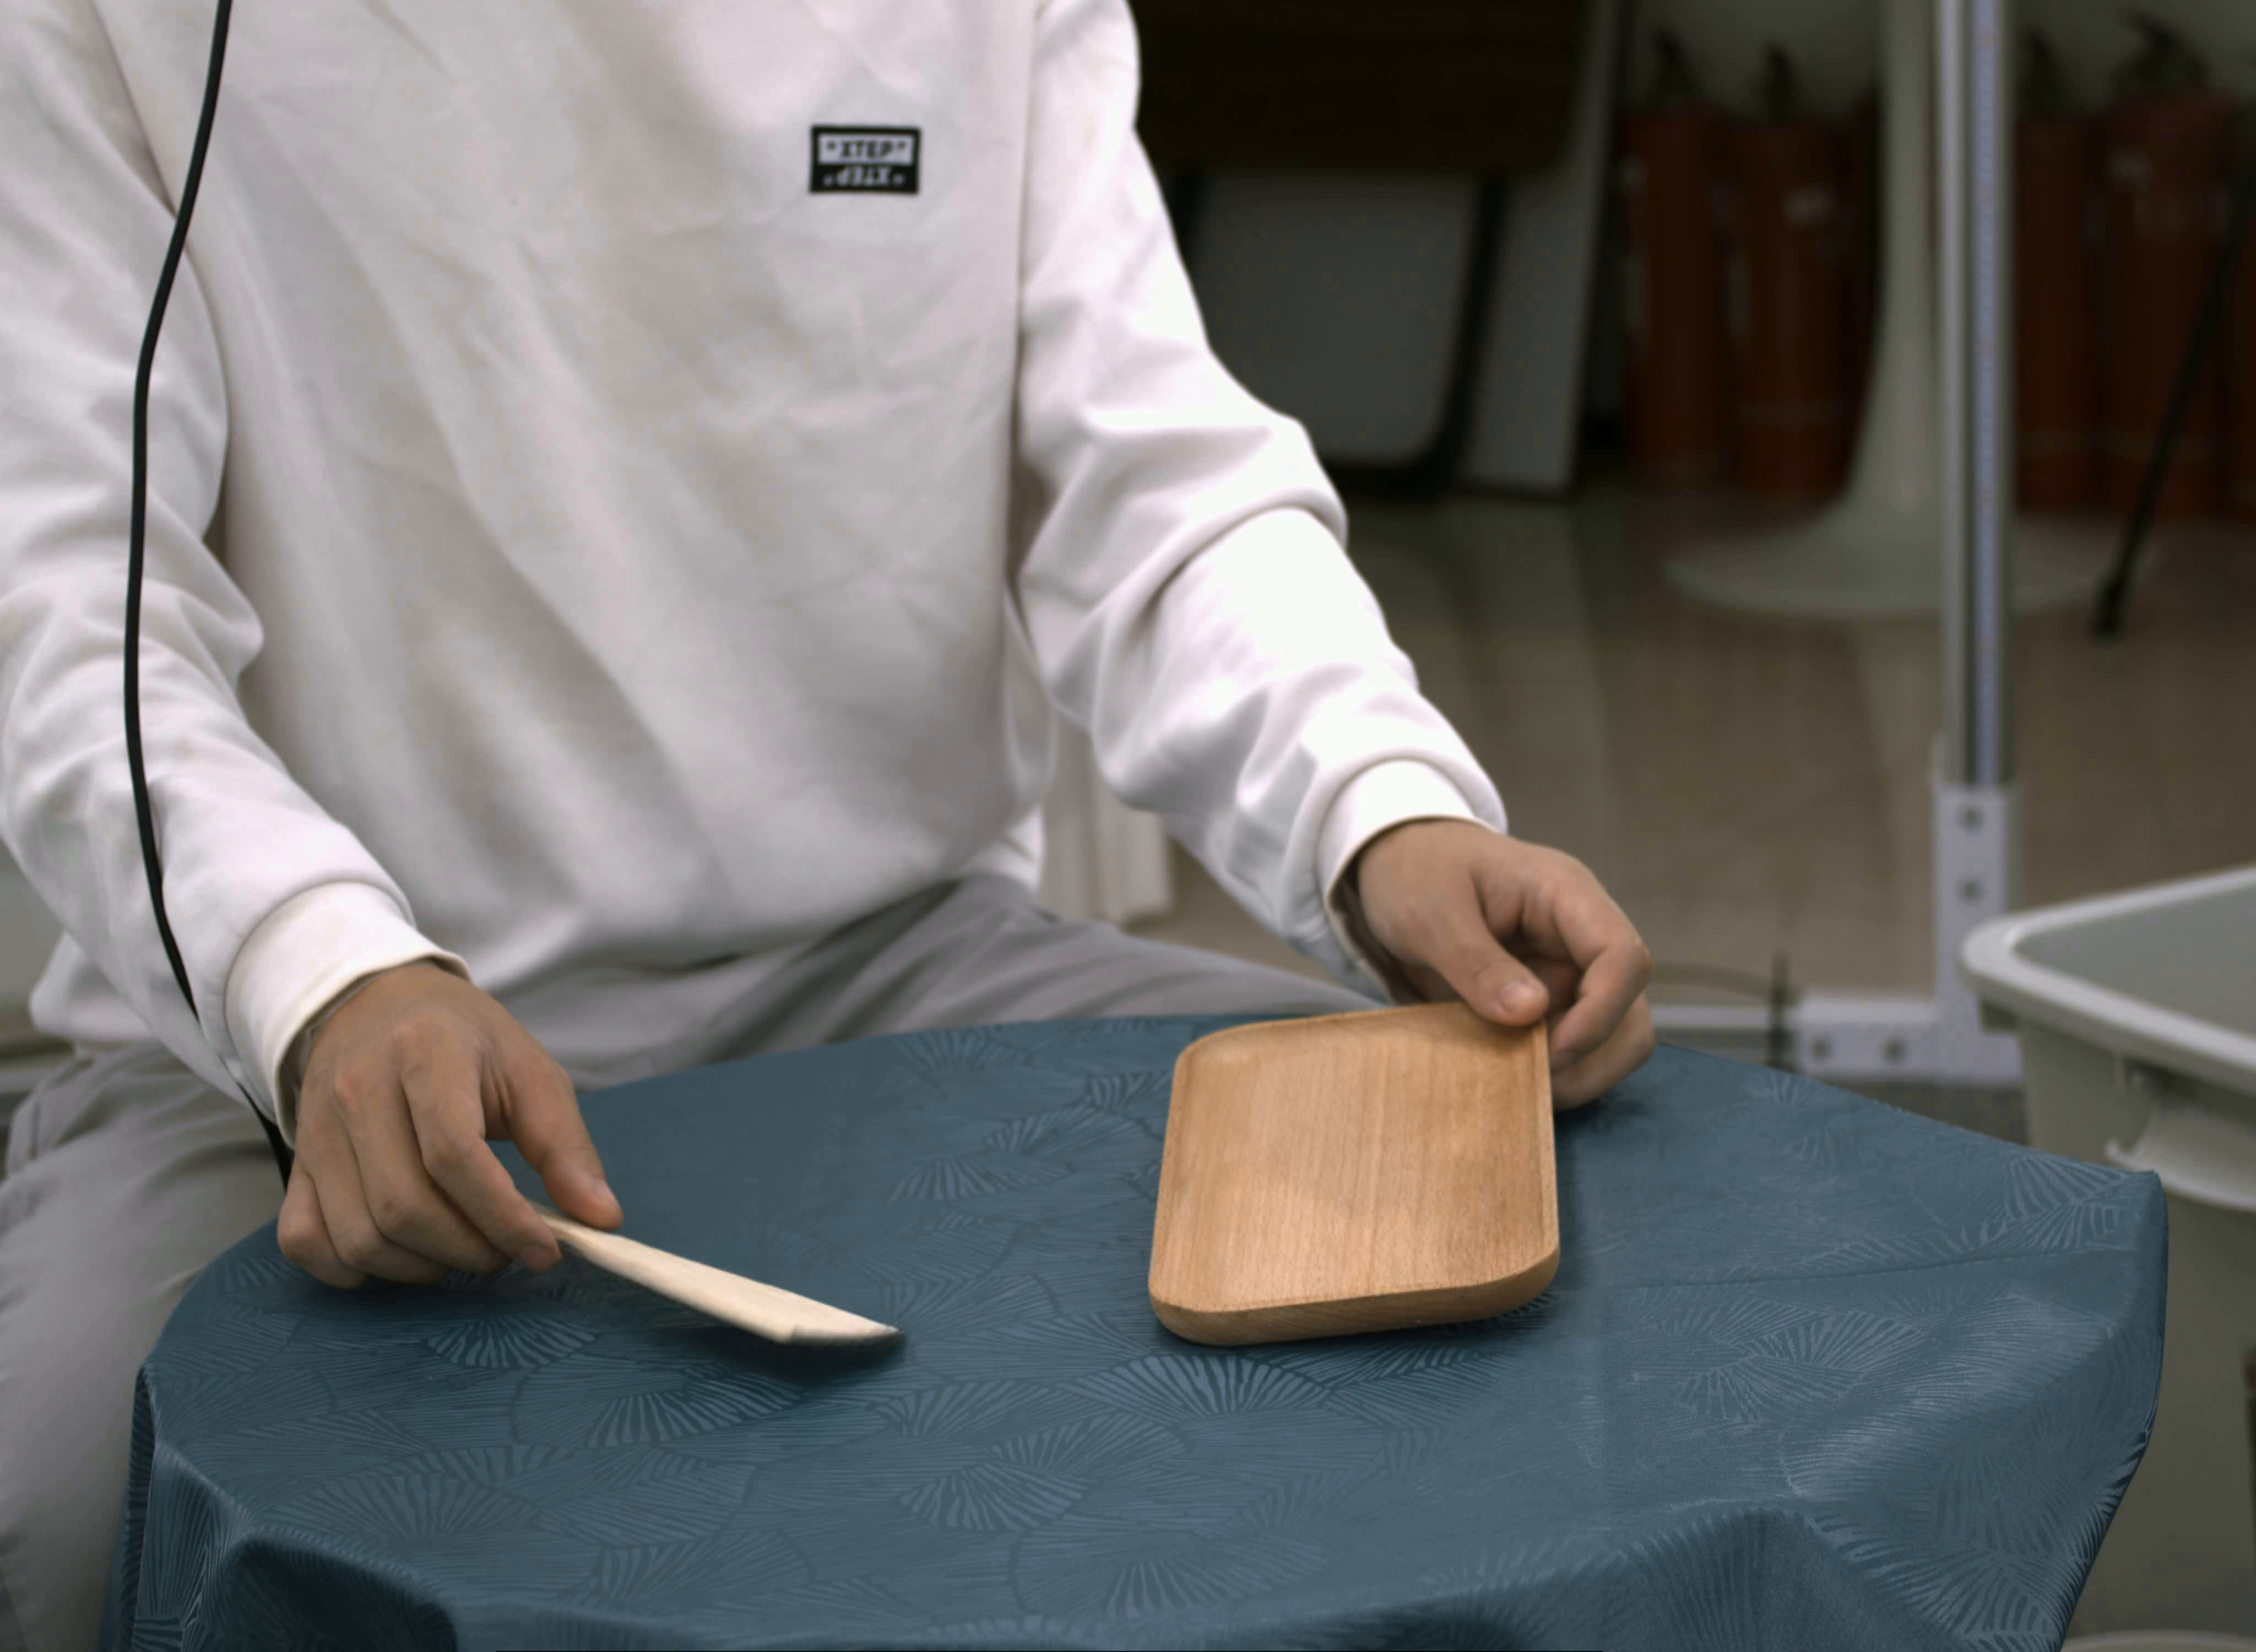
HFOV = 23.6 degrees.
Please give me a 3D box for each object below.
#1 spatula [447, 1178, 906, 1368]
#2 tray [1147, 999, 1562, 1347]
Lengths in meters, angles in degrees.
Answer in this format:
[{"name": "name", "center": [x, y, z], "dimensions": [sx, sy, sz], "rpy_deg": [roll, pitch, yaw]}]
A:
[{"name": "spatula", "center": [-0.148, 0.138, 1.683], "dimensions": [0.049, 0.005, 0.210], "rpy_deg": [3, 10, -41]}, {"name": "tray", "center": [0.074, 0.108, 1.723], "dimensions": [0.129, 0.023, 0.250], "rpy_deg": [-5, 17, 6]}]
